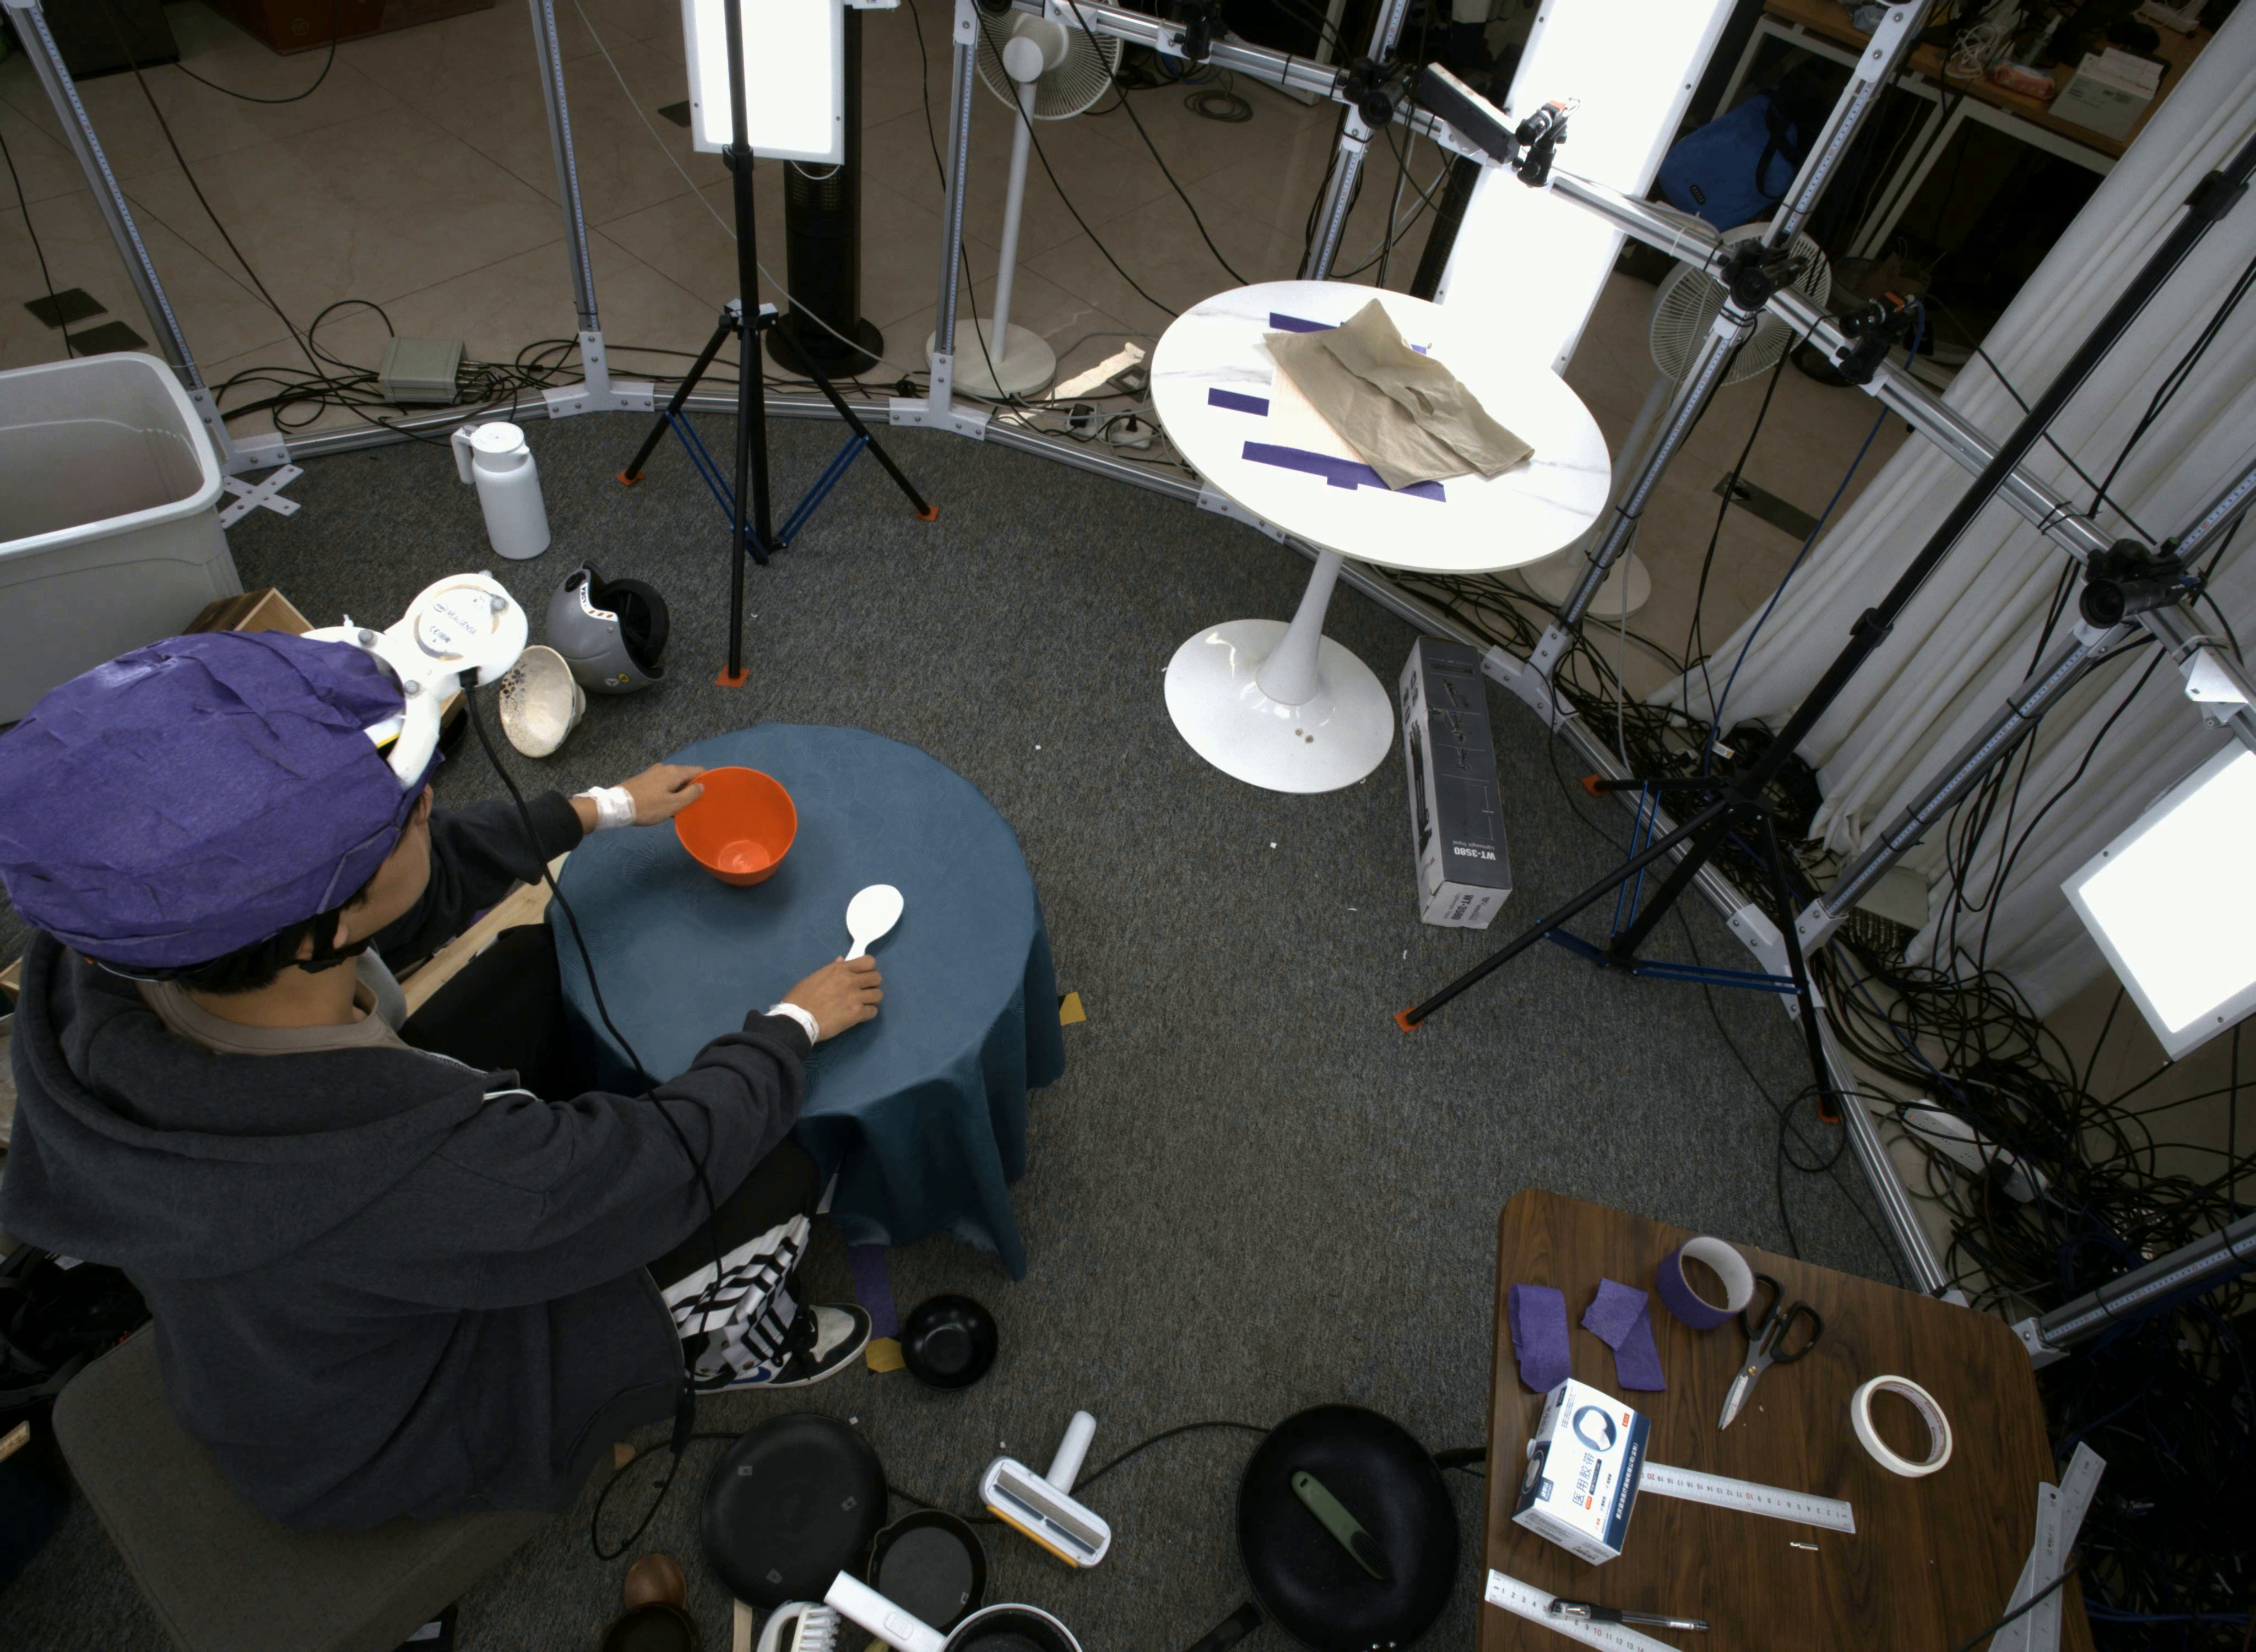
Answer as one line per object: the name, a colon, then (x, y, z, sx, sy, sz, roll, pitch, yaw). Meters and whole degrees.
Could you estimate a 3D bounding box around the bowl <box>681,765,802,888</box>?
bowl: (-0.487, 0.012, 1.636, 0.148, 0.106, 0.145, 9, 54, -11)

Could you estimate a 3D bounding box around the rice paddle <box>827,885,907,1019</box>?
rice paddle: (-0.329, 0.146, 1.620, 0.068, 0.030, 0.202, 12, 48, 2)
